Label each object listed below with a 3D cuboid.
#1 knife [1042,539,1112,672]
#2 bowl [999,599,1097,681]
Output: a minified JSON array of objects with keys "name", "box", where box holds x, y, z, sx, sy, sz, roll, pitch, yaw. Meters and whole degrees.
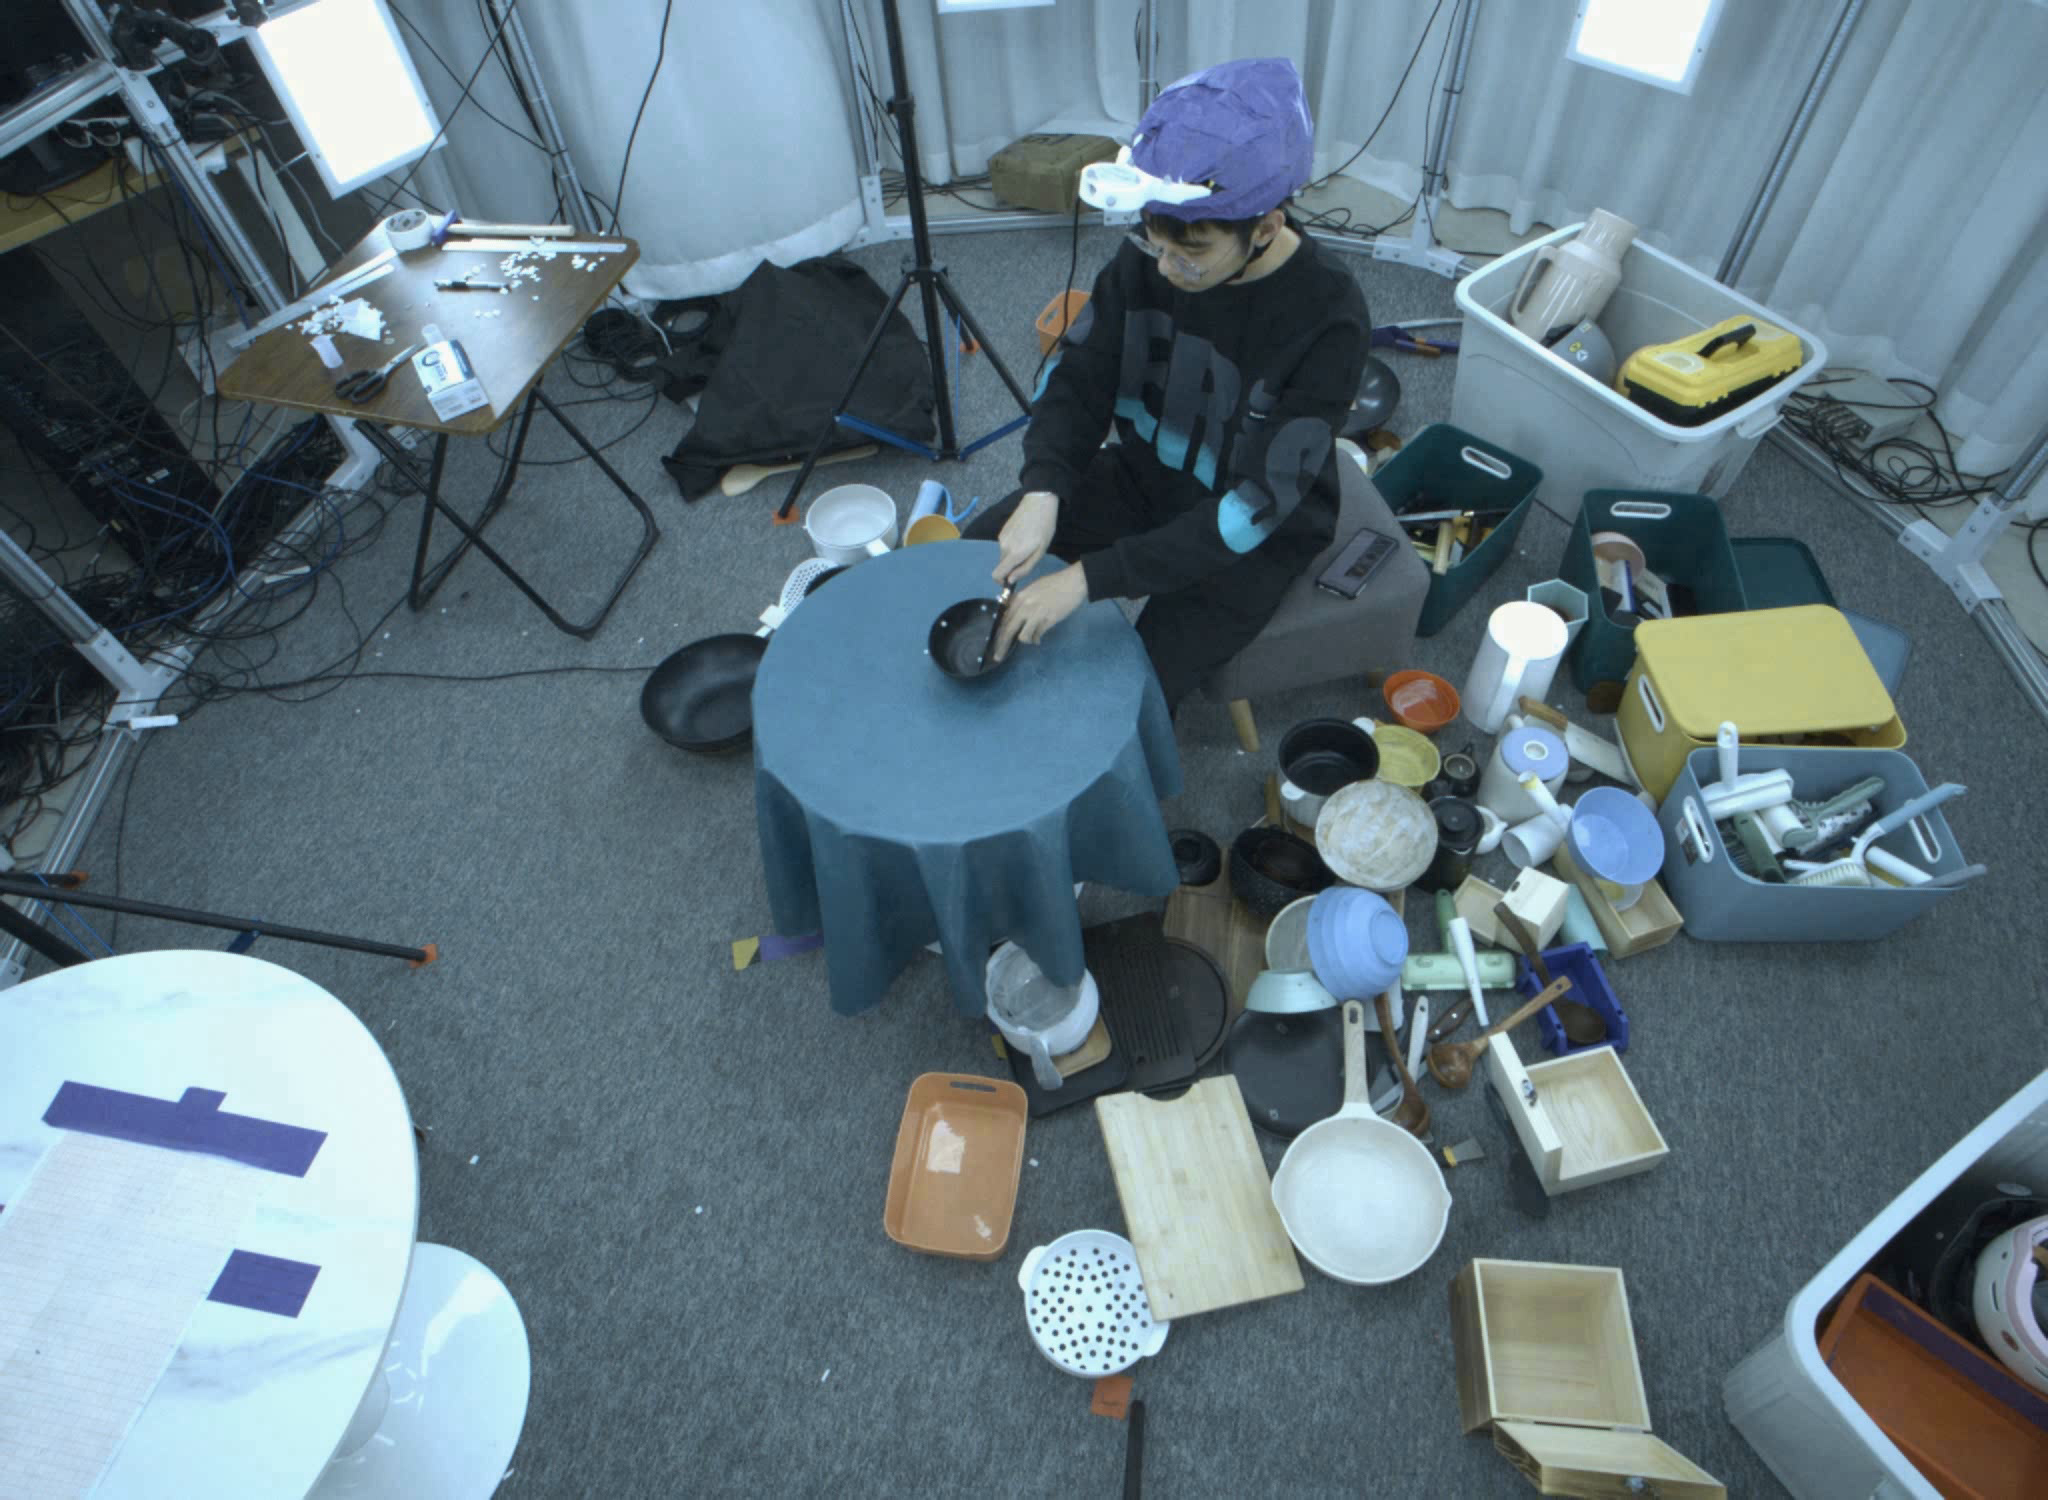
[{"name":"knife","box":[0.078,-0.216,1.838,0.017,0.027,0.225,24,87,30]},{"name":"bowl","box":[0.038,-0.158,1.858,0.135,0.067,0.170,22,56,17]}]
